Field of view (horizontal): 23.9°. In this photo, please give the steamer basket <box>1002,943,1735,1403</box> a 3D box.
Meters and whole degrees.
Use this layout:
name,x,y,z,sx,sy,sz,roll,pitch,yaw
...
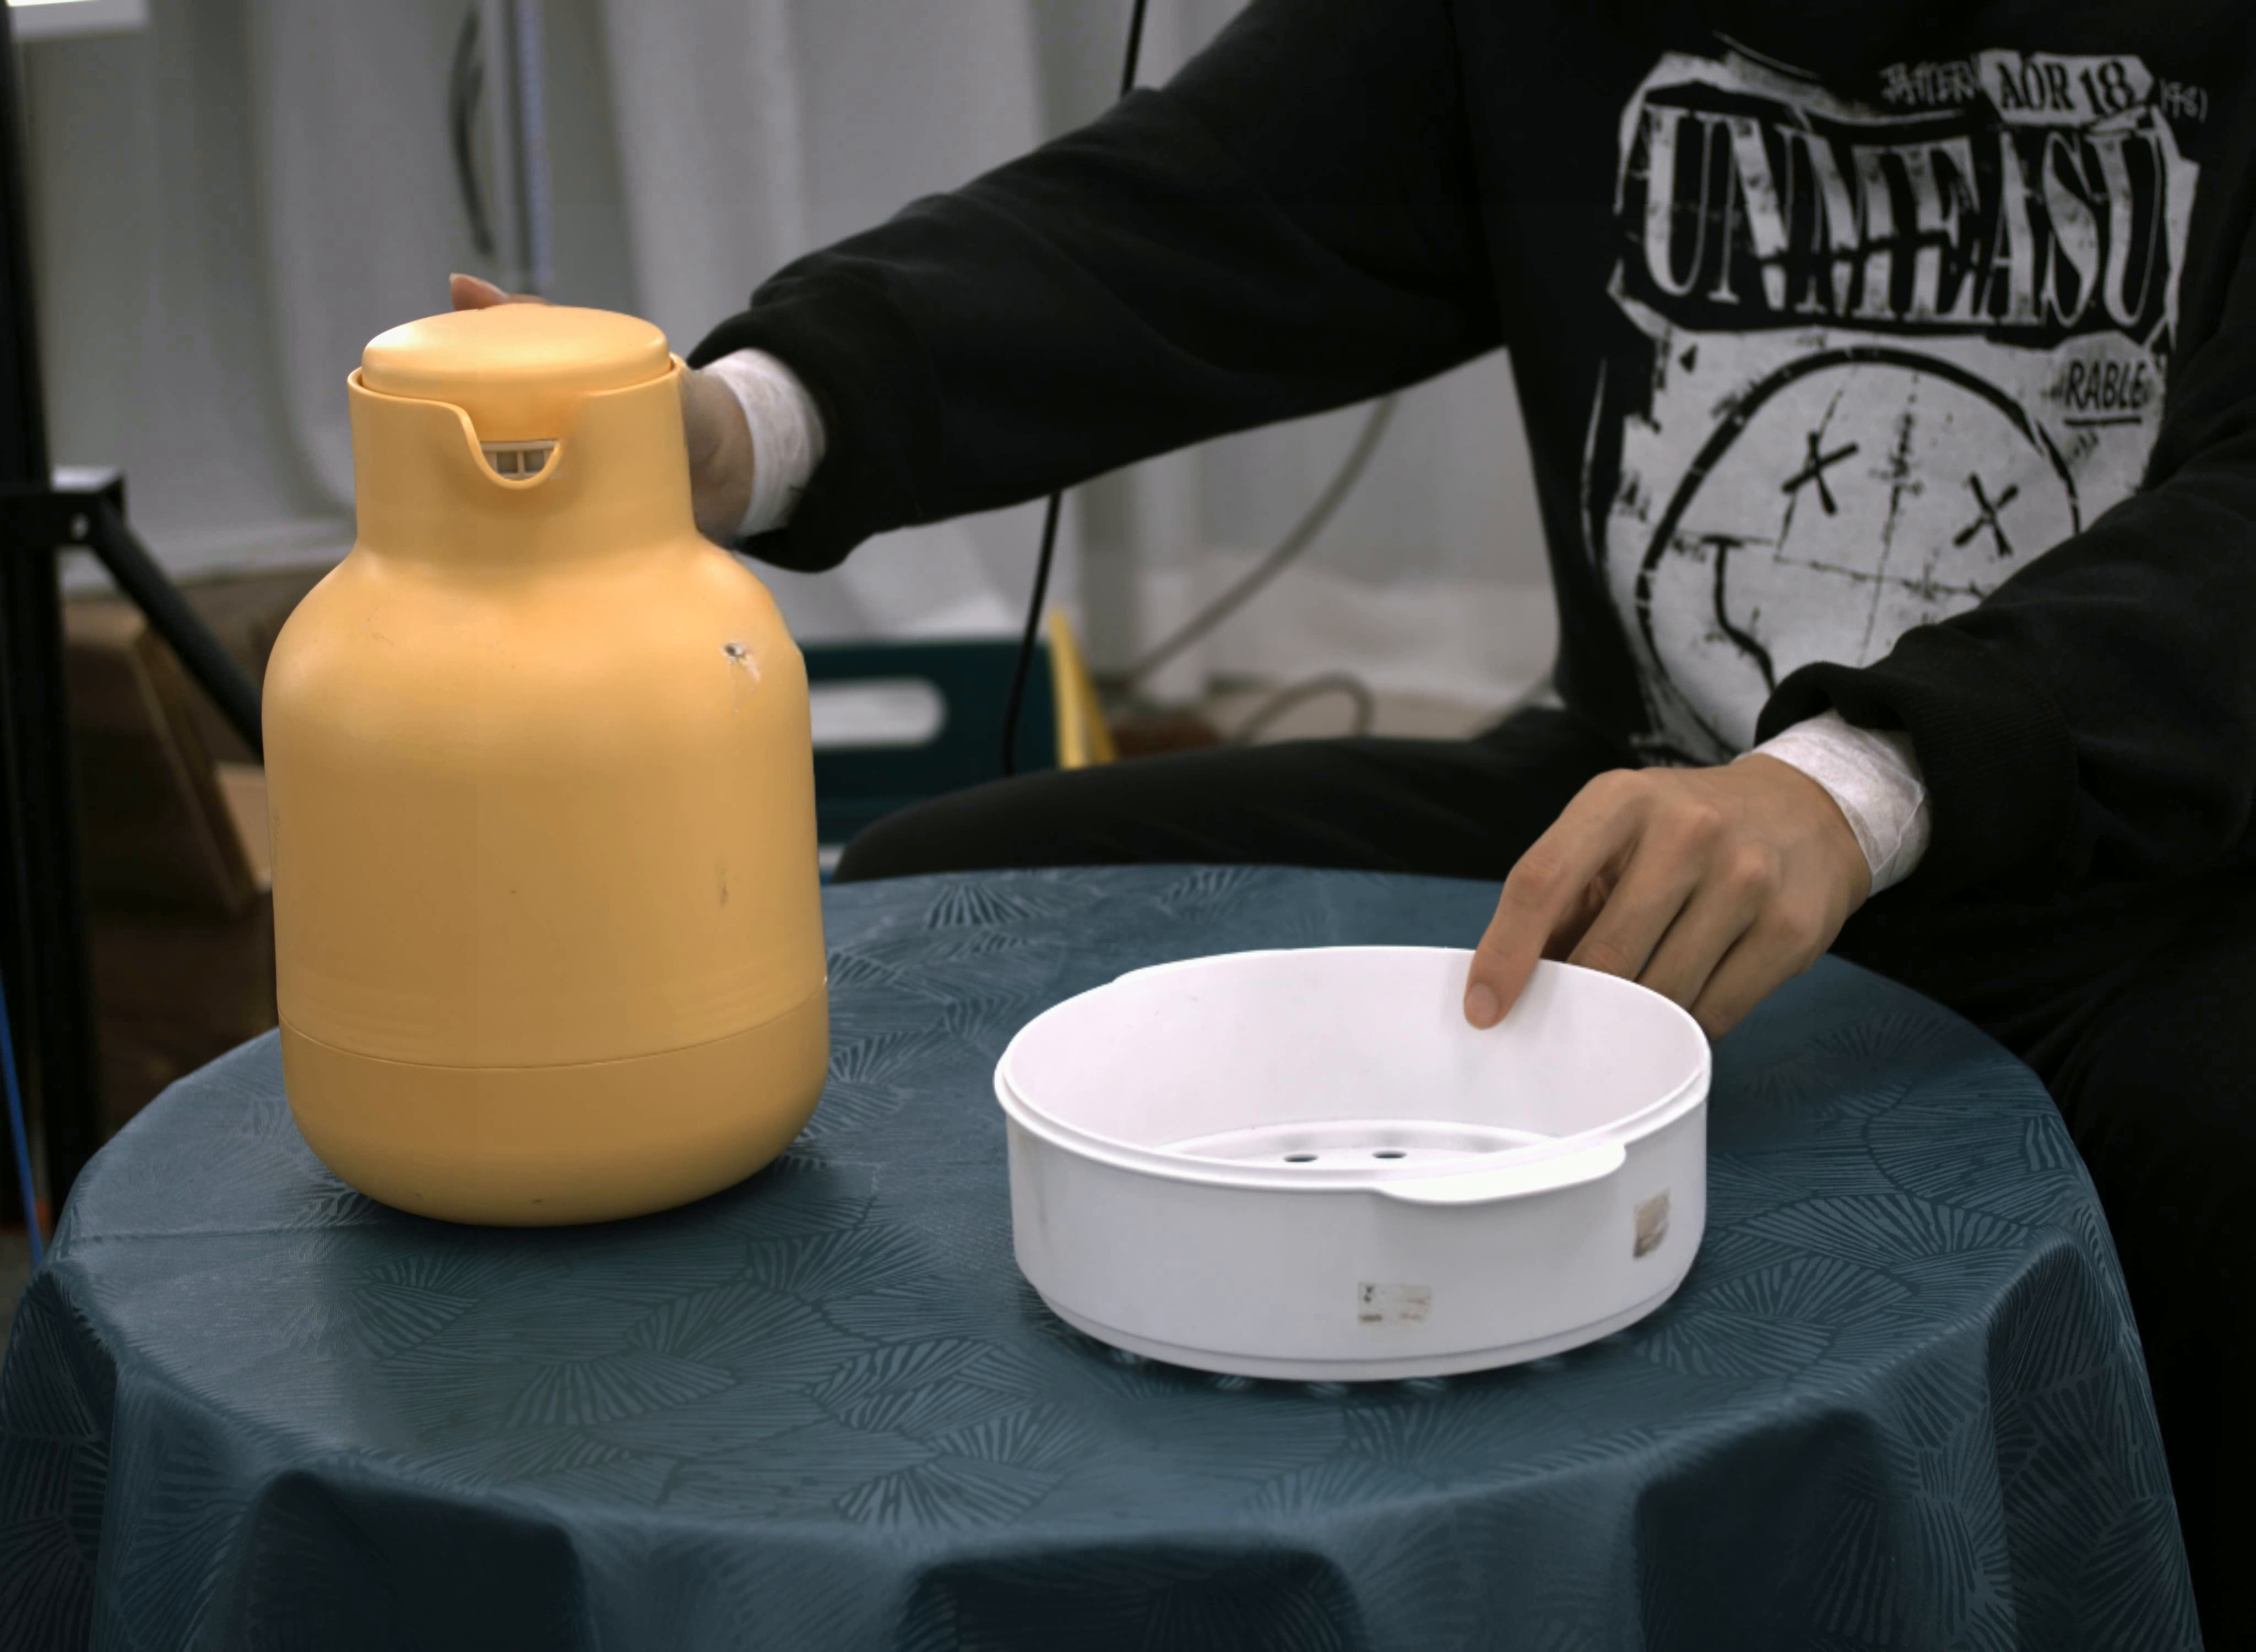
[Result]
name,x,y,z,sx,sy,sz,roll,pitch,yaw
steamer basket,0.066,0.095,1.465,0.198,0.069,0.235,-7,19,-20

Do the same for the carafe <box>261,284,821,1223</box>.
name,x,y,z,sx,sy,sz,roll,pitch,yaw
carafe,-0.173,-0.029,1.589,0.162,0.260,0.203,0,17,-2
